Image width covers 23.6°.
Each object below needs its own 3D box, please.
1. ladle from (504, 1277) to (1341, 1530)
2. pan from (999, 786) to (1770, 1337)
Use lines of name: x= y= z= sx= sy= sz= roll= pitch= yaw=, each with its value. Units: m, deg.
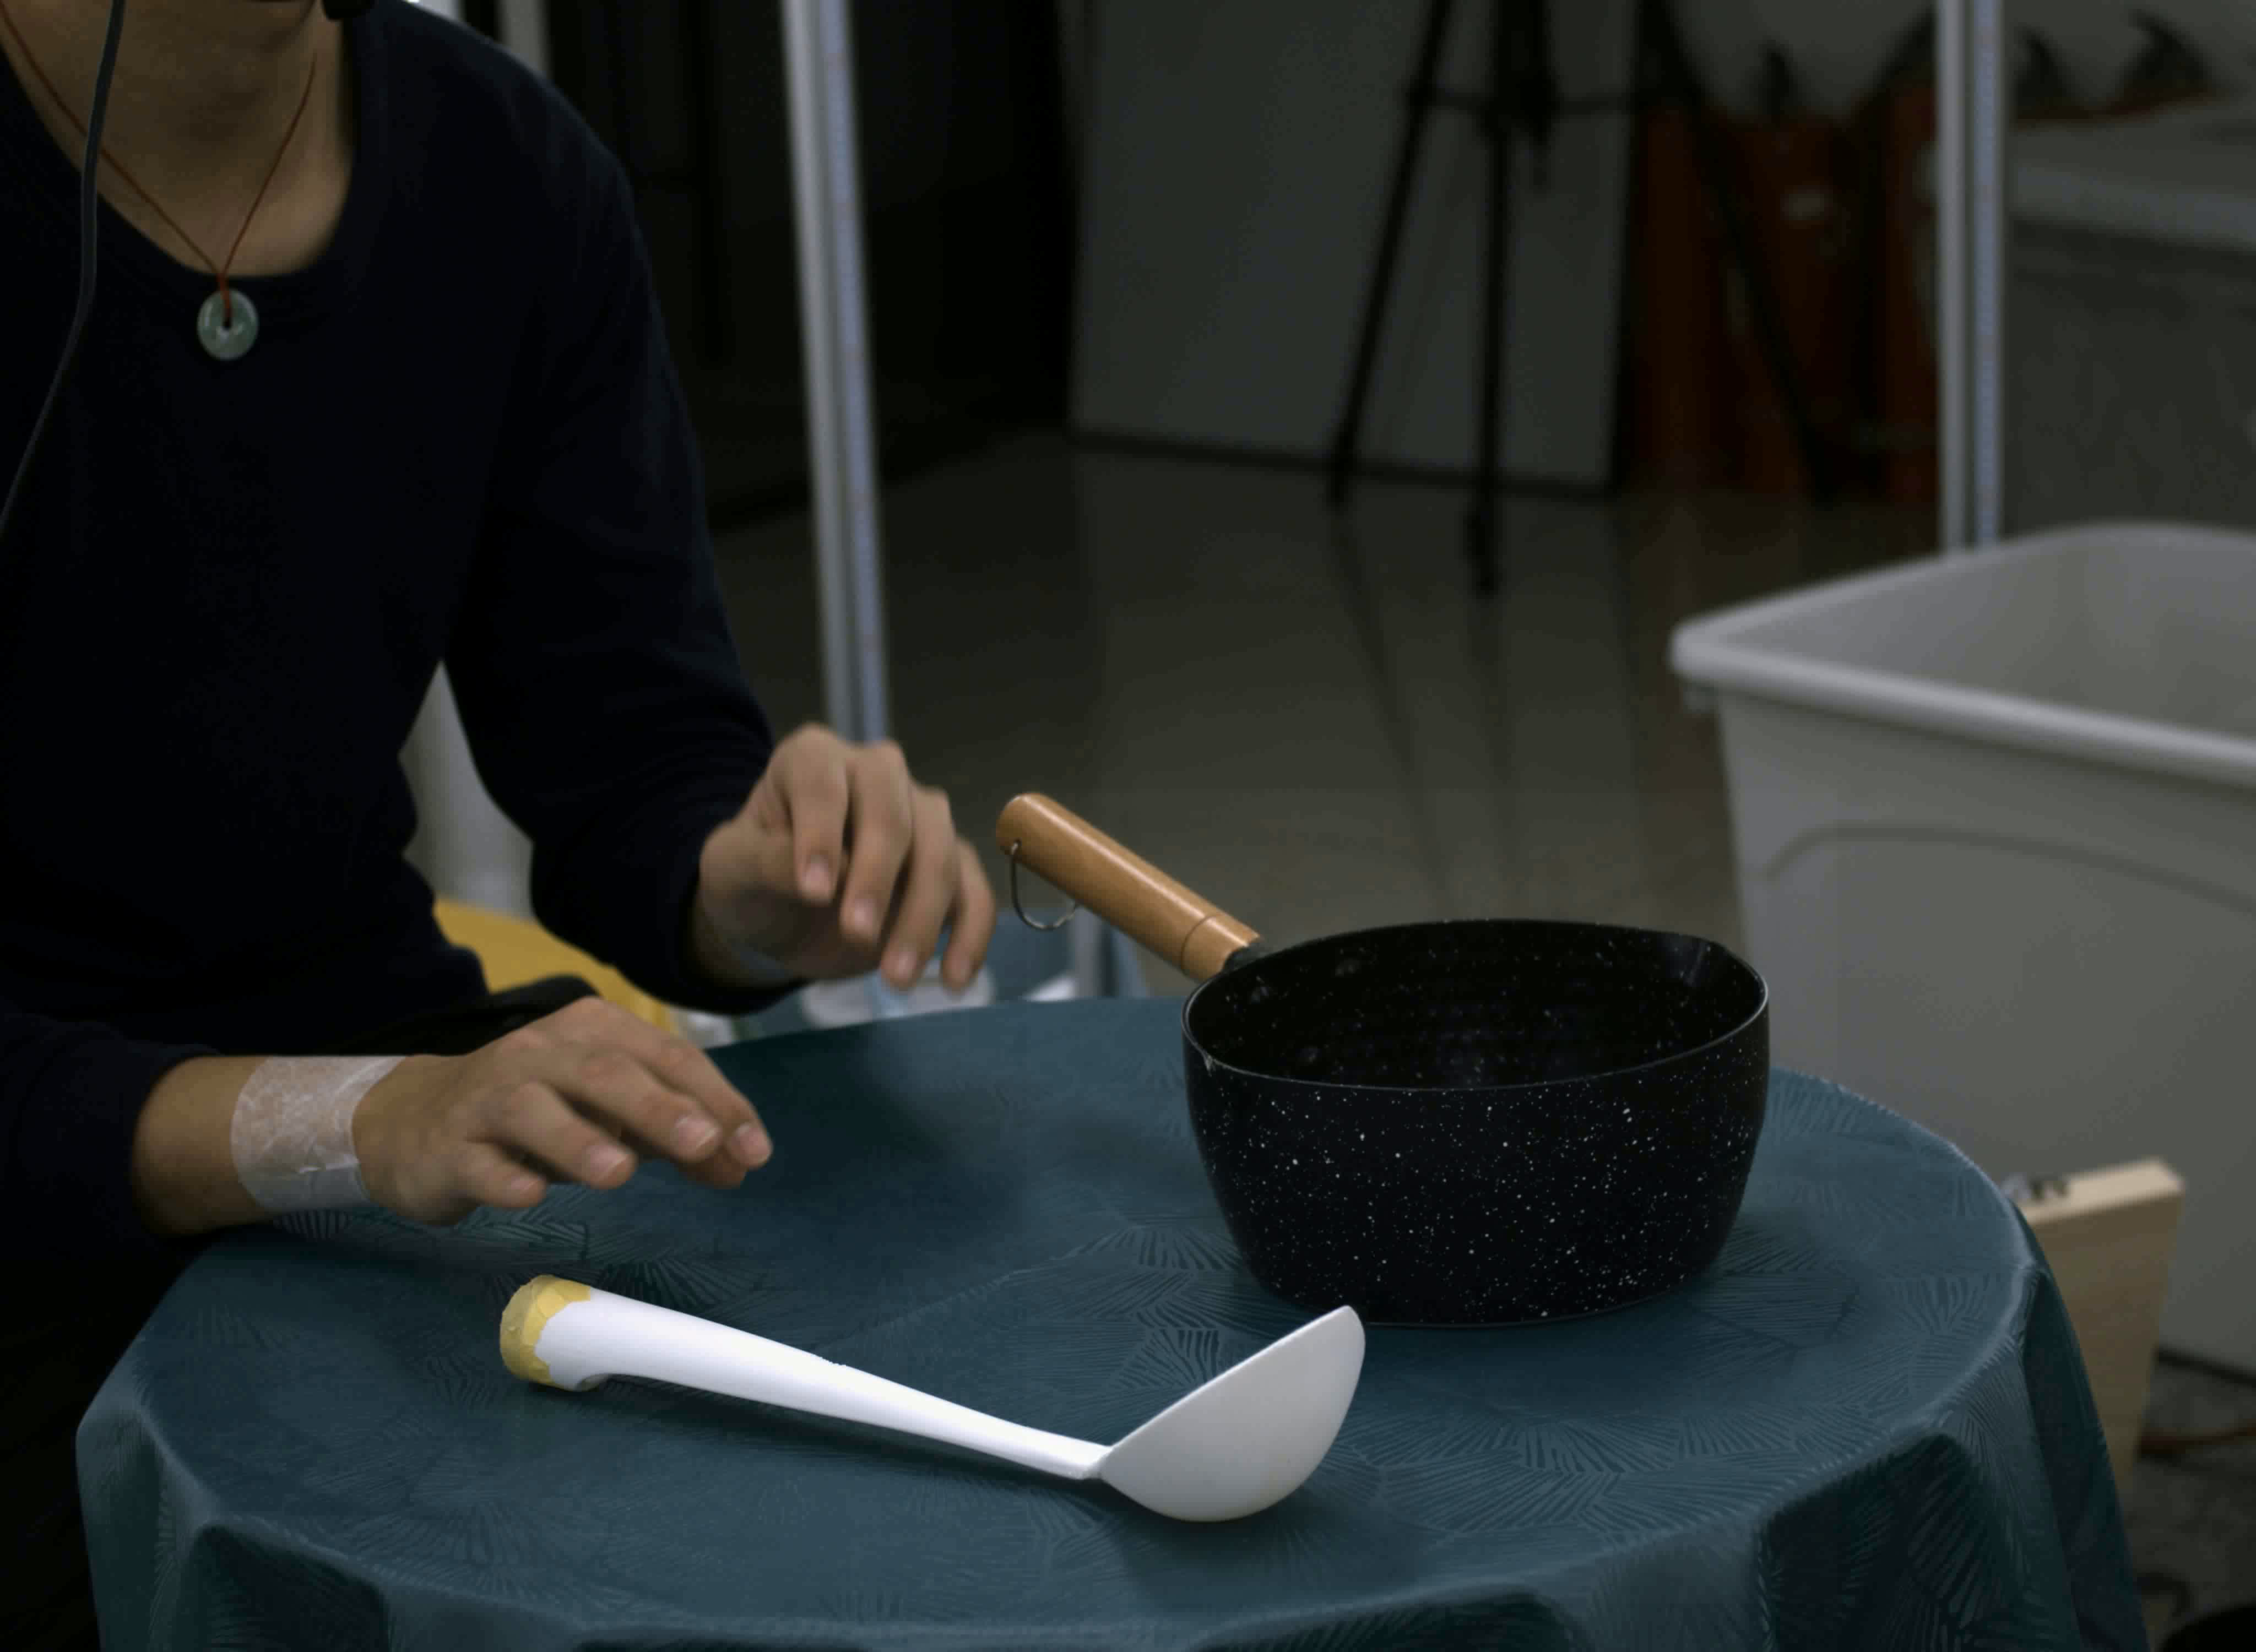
ladle: x=-0.065 y=0.151 z=1.534 sx=0.295 sy=0.070 sz=0.088 roll=5 pitch=22 yaw=38
pan: x=0.062 y=0.069 z=1.737 sx=0.203 sy=0.109 sz=0.346 roll=-15 pitch=18 yaw=-34
